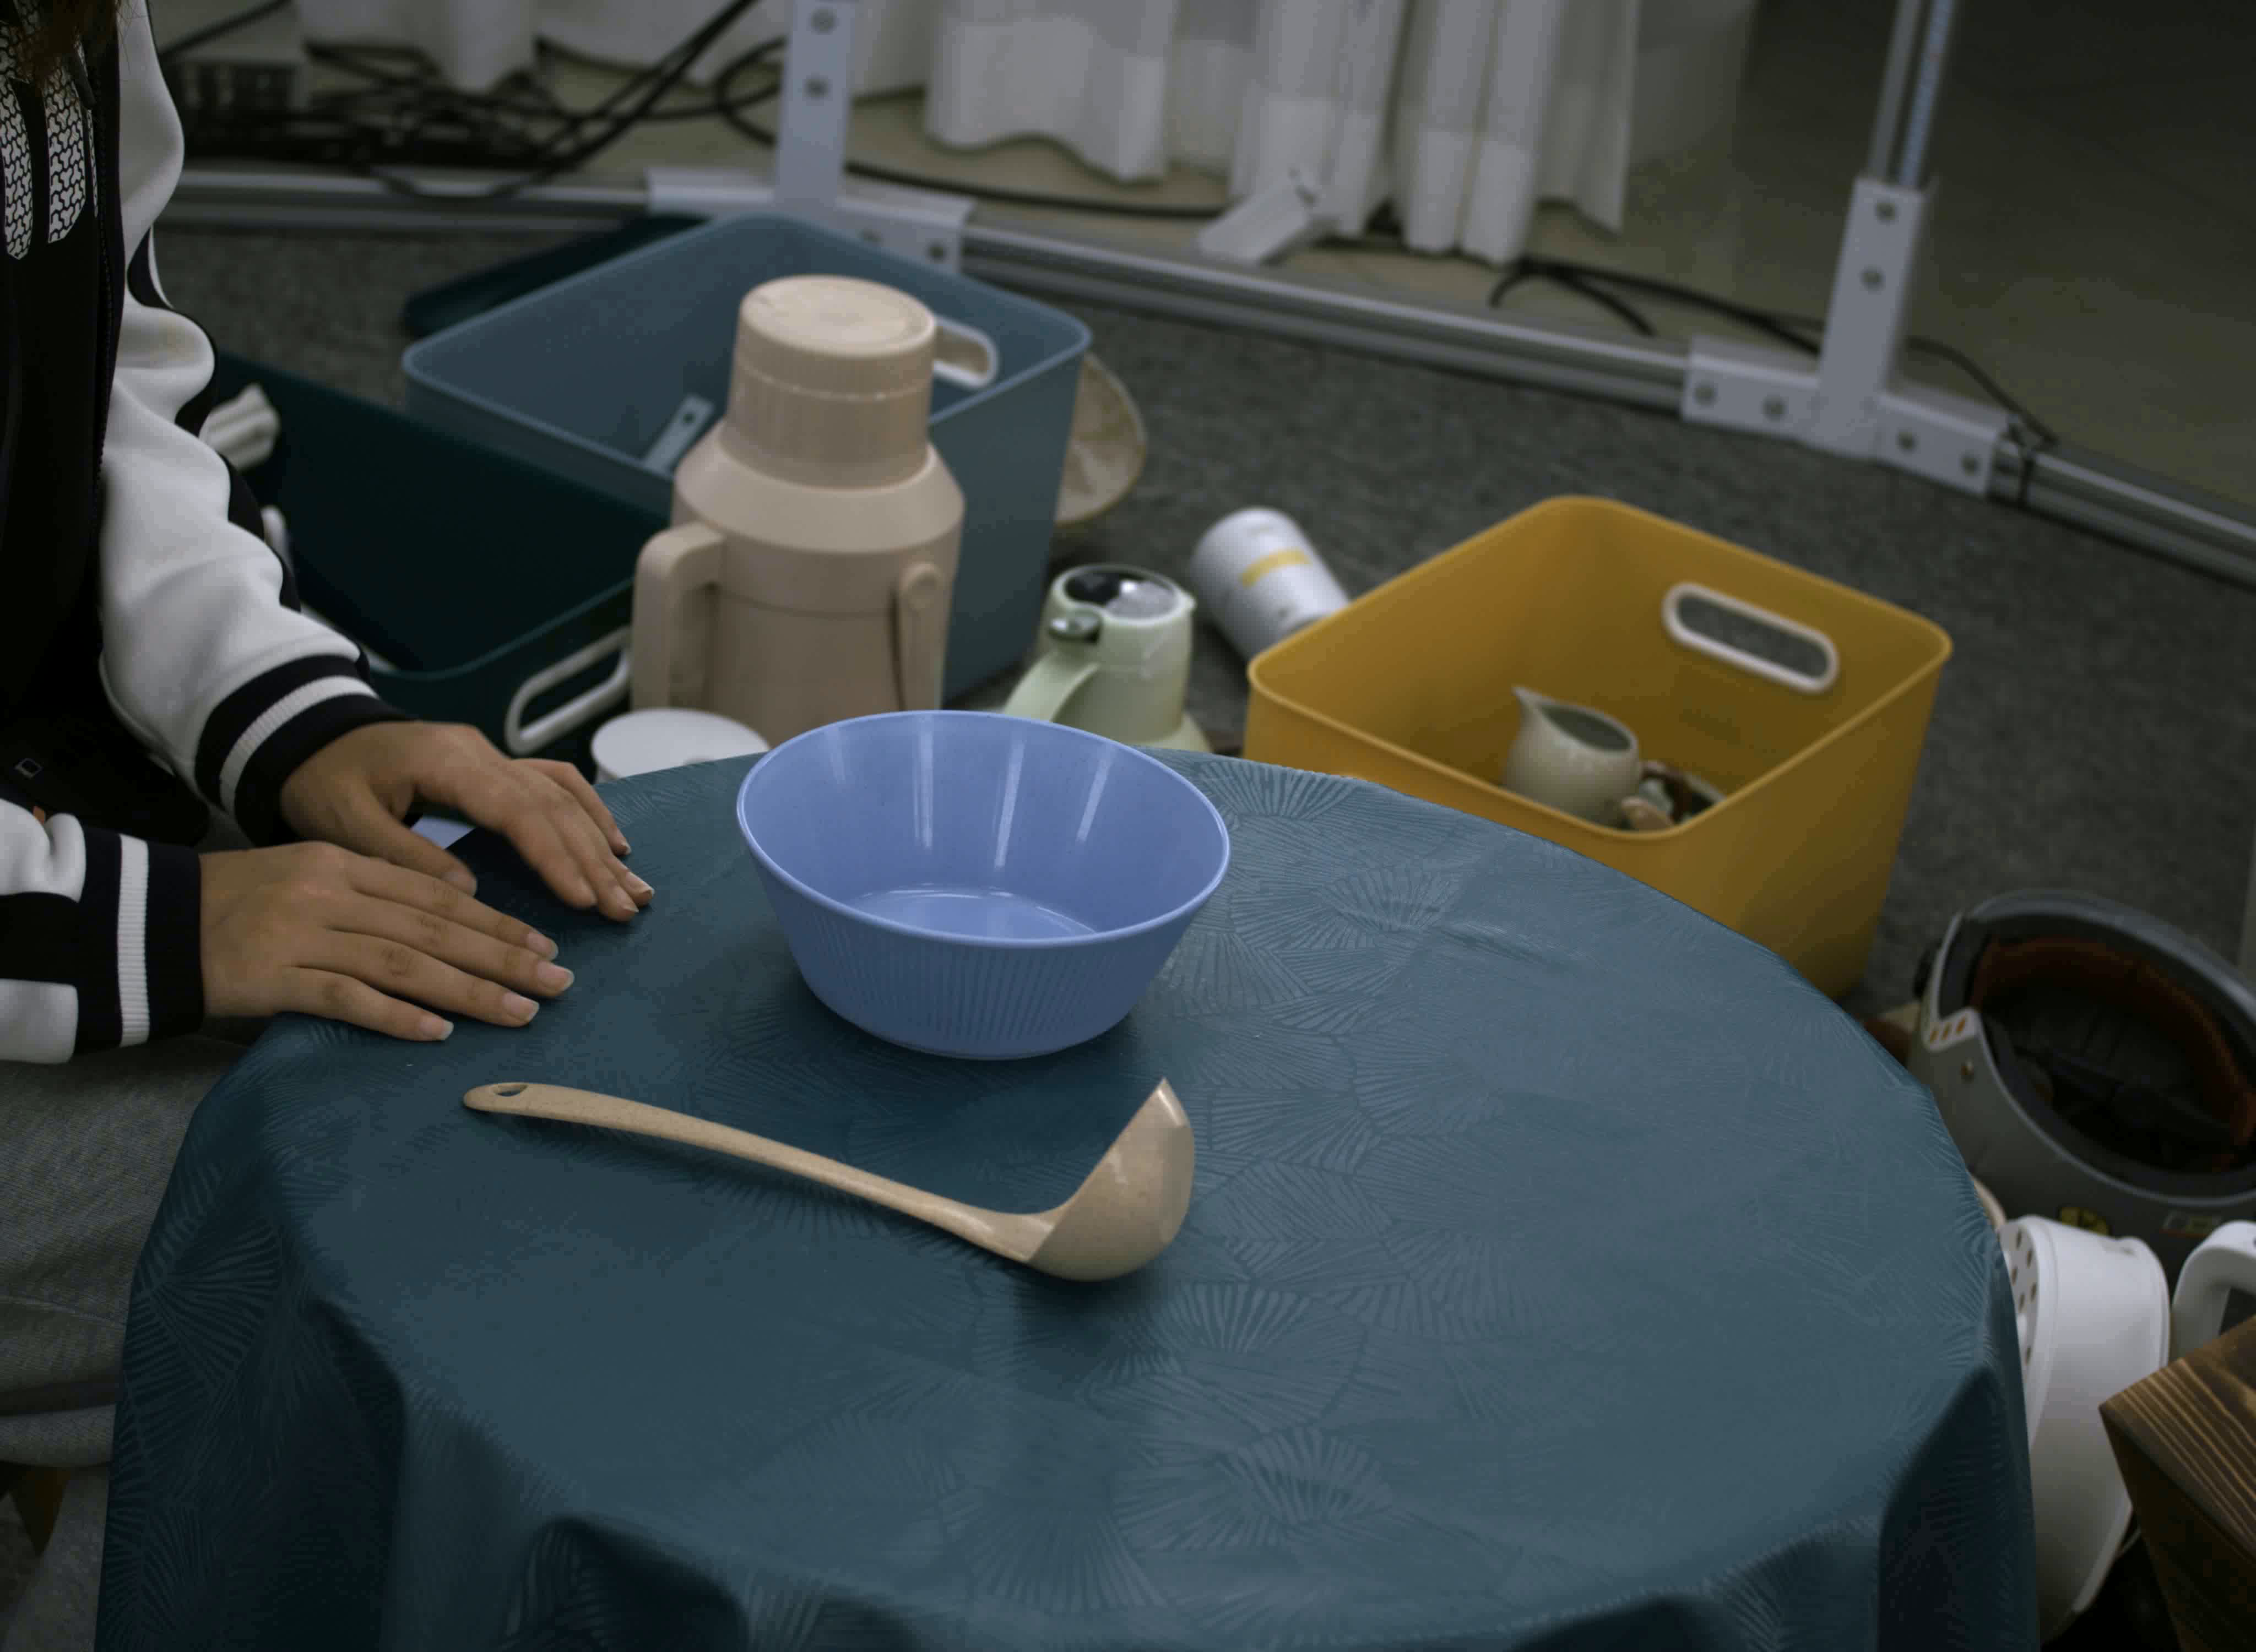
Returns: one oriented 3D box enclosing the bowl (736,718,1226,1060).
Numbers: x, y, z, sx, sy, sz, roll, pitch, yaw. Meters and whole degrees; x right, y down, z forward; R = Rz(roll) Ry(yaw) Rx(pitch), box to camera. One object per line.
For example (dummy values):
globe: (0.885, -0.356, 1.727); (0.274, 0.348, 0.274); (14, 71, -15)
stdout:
bowl: (-0.055, 0.028, 1.900); (0.175, 0.070, 0.177); (6, 26, -3)

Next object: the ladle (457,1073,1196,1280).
ladle: (-0.103, 0.092, 1.761); (0.254, 0.072, 0.072); (13, 27, 13)
